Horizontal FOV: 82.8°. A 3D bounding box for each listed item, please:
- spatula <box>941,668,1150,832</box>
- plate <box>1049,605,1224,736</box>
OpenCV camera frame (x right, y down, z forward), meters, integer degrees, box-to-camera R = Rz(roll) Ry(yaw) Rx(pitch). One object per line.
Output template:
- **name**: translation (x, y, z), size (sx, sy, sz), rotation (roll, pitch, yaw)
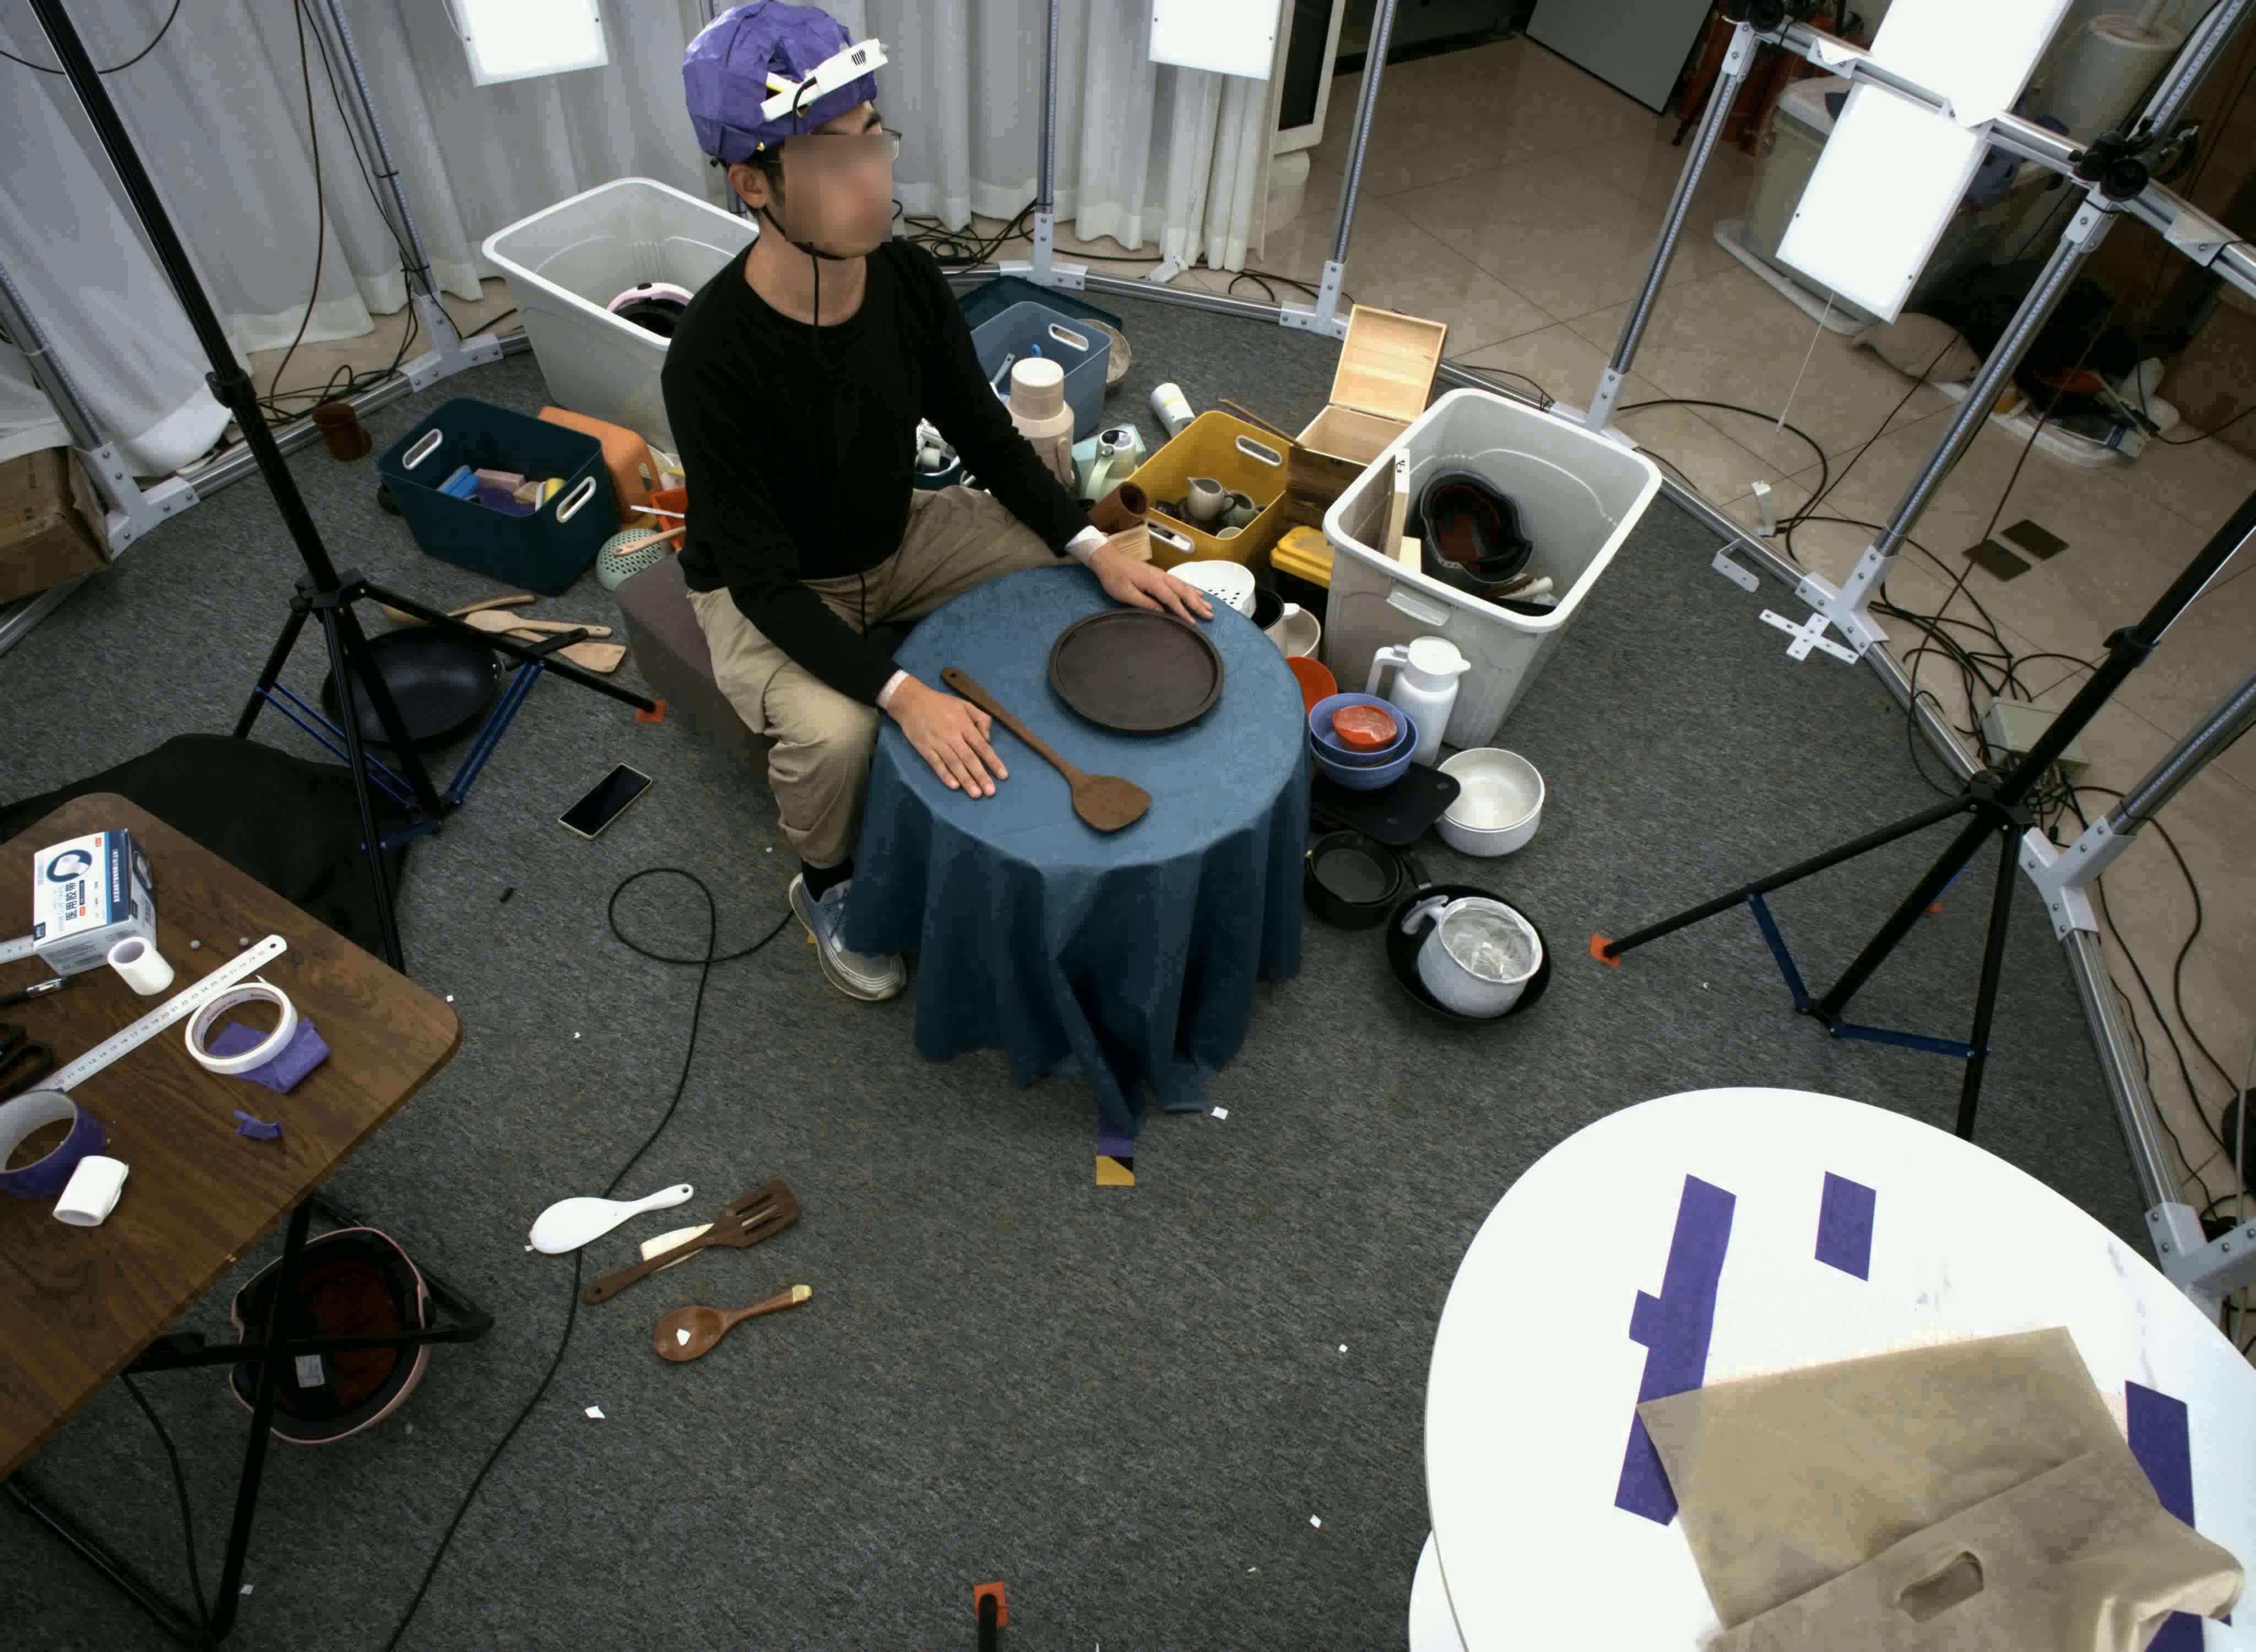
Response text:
- **spatula**: translation (-0.128, -0.115, 1.752), size (0.097, 0.015, 0.392), rotation (-34, 59, -29)
- **plate**: translation (0.012, -0.223, 1.848), size (0.254, 0.028, 0.261), rotation (1, 50, -2)
